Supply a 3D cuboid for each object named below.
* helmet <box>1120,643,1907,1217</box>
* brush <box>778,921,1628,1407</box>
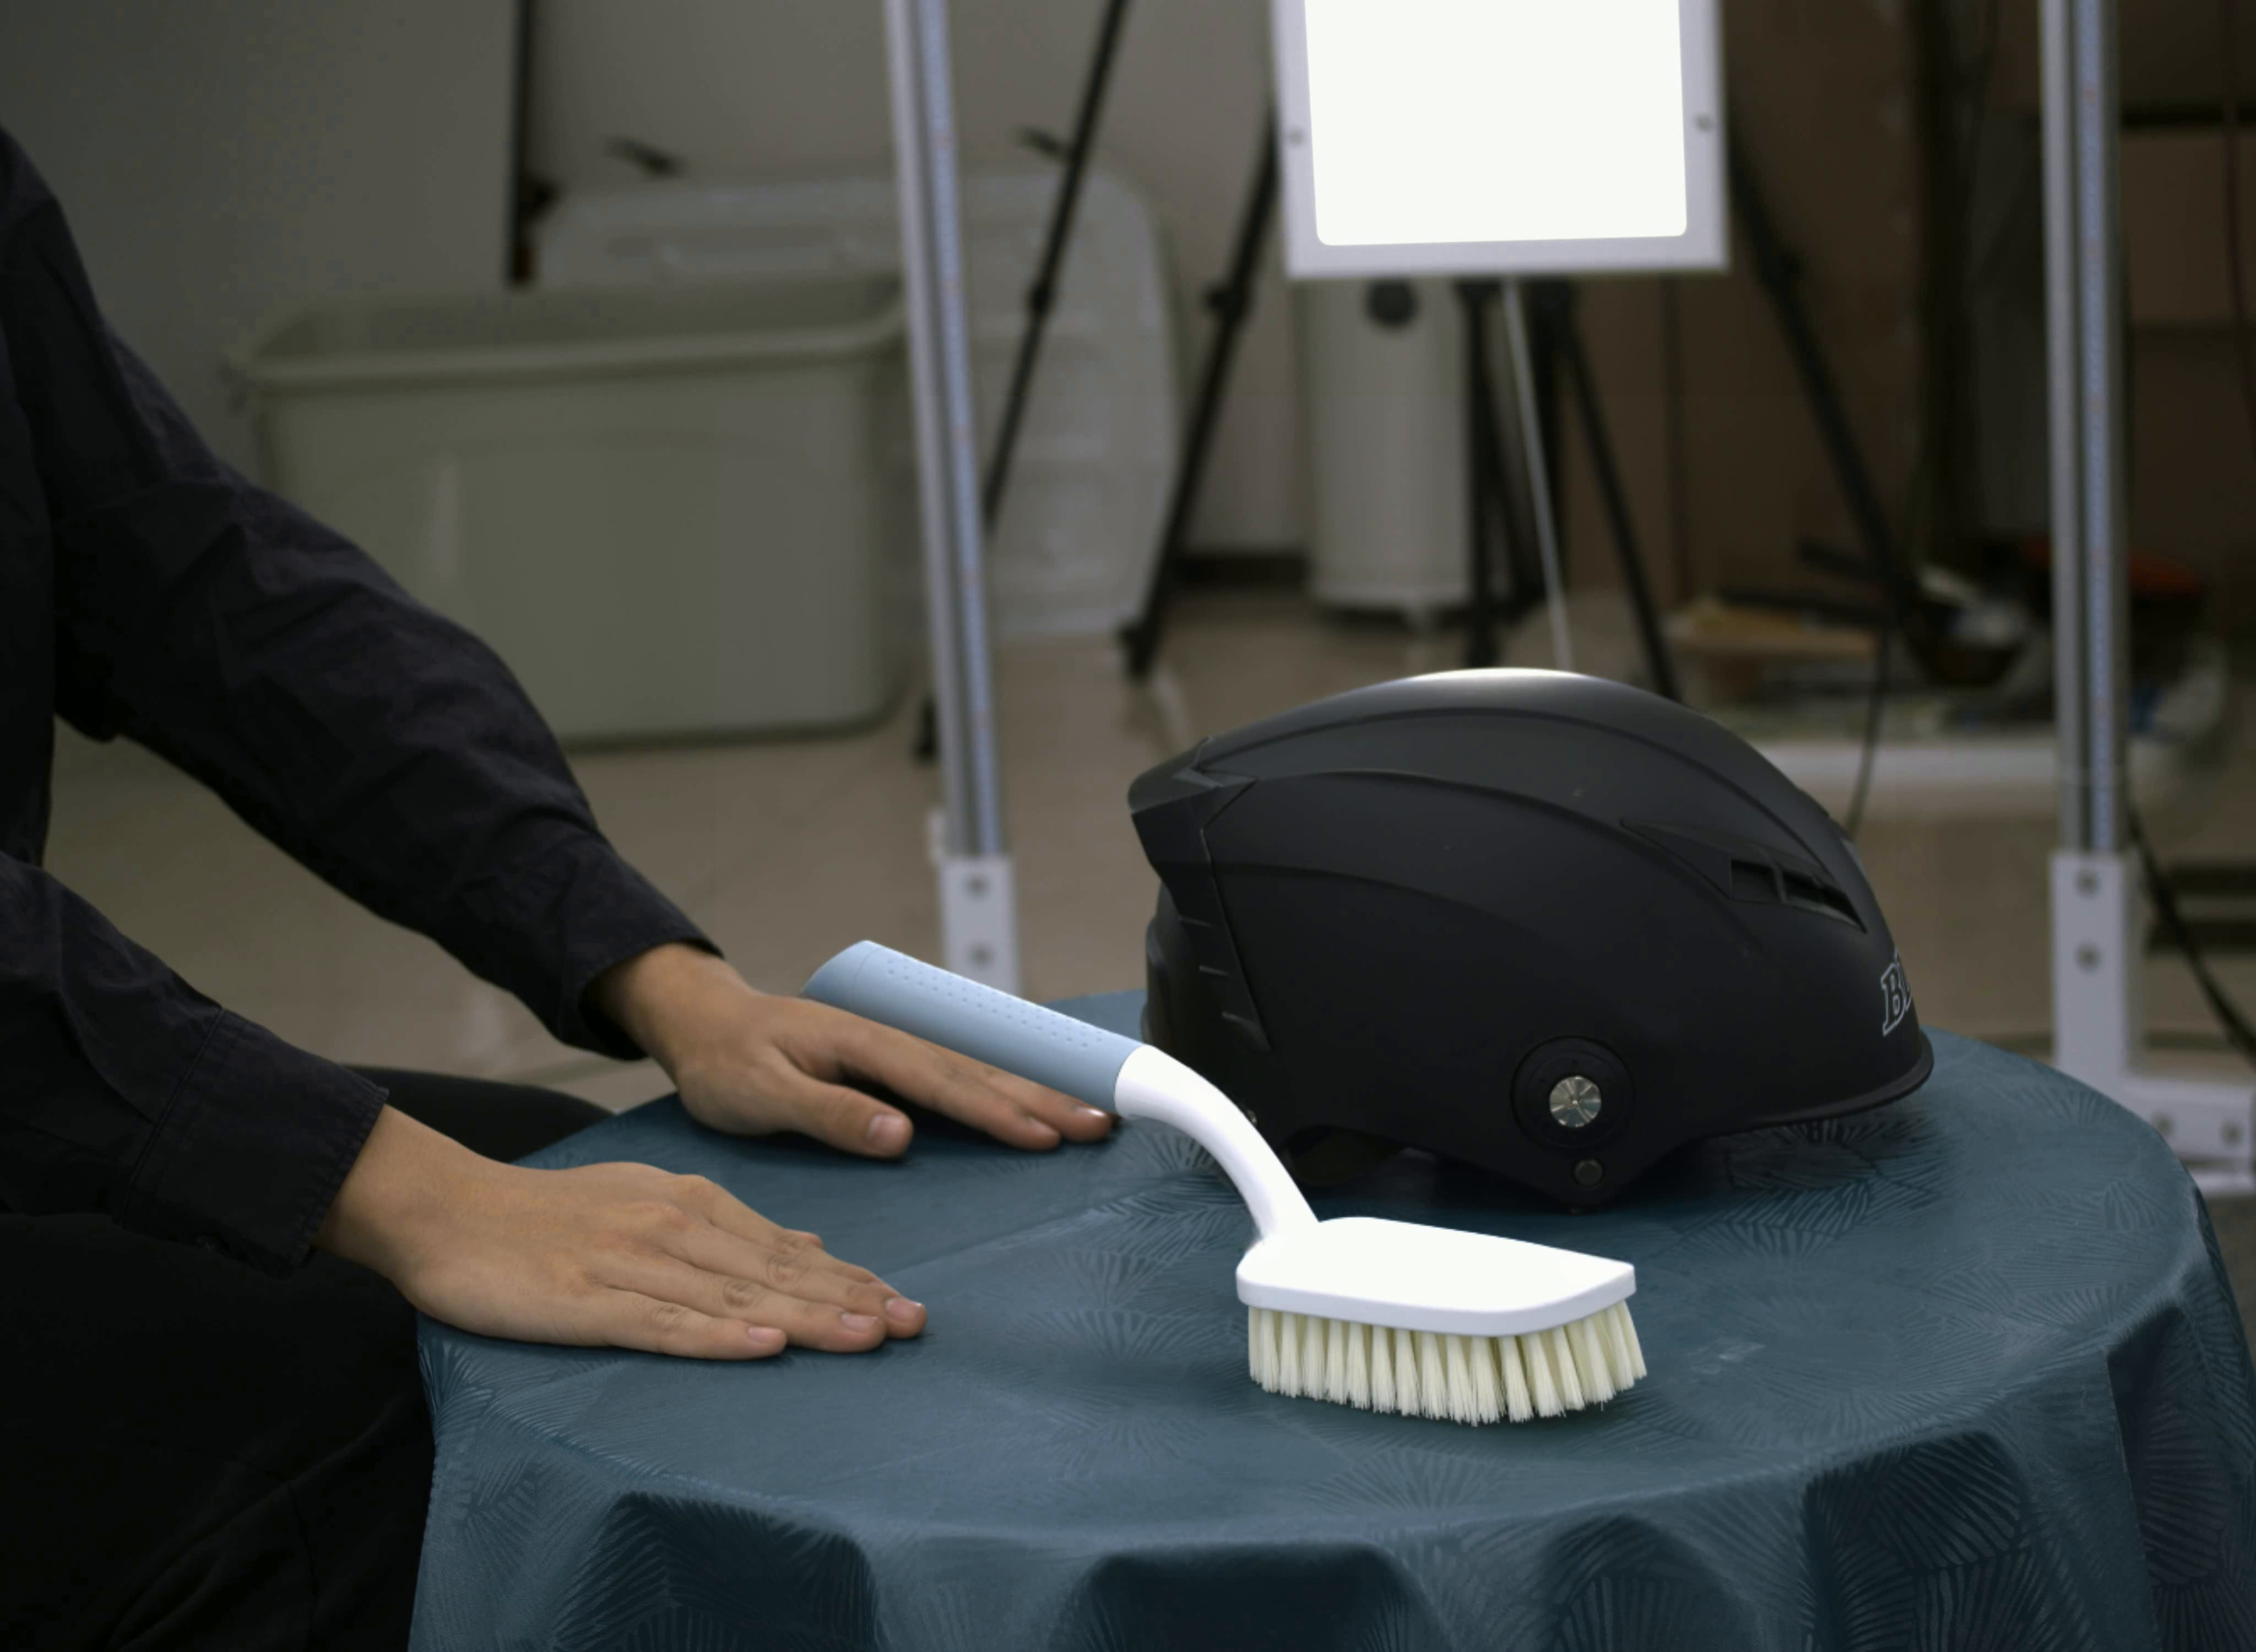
[{"bbox_3d":[0.134,0.023,1.919,0.279,0.173,0.243,2,16,13],"label":"helmet"},{"bbox_3d":[0.017,0.119,1.739,0.331,0.084,0.082,20,-12,33],"label":"brush"}]
